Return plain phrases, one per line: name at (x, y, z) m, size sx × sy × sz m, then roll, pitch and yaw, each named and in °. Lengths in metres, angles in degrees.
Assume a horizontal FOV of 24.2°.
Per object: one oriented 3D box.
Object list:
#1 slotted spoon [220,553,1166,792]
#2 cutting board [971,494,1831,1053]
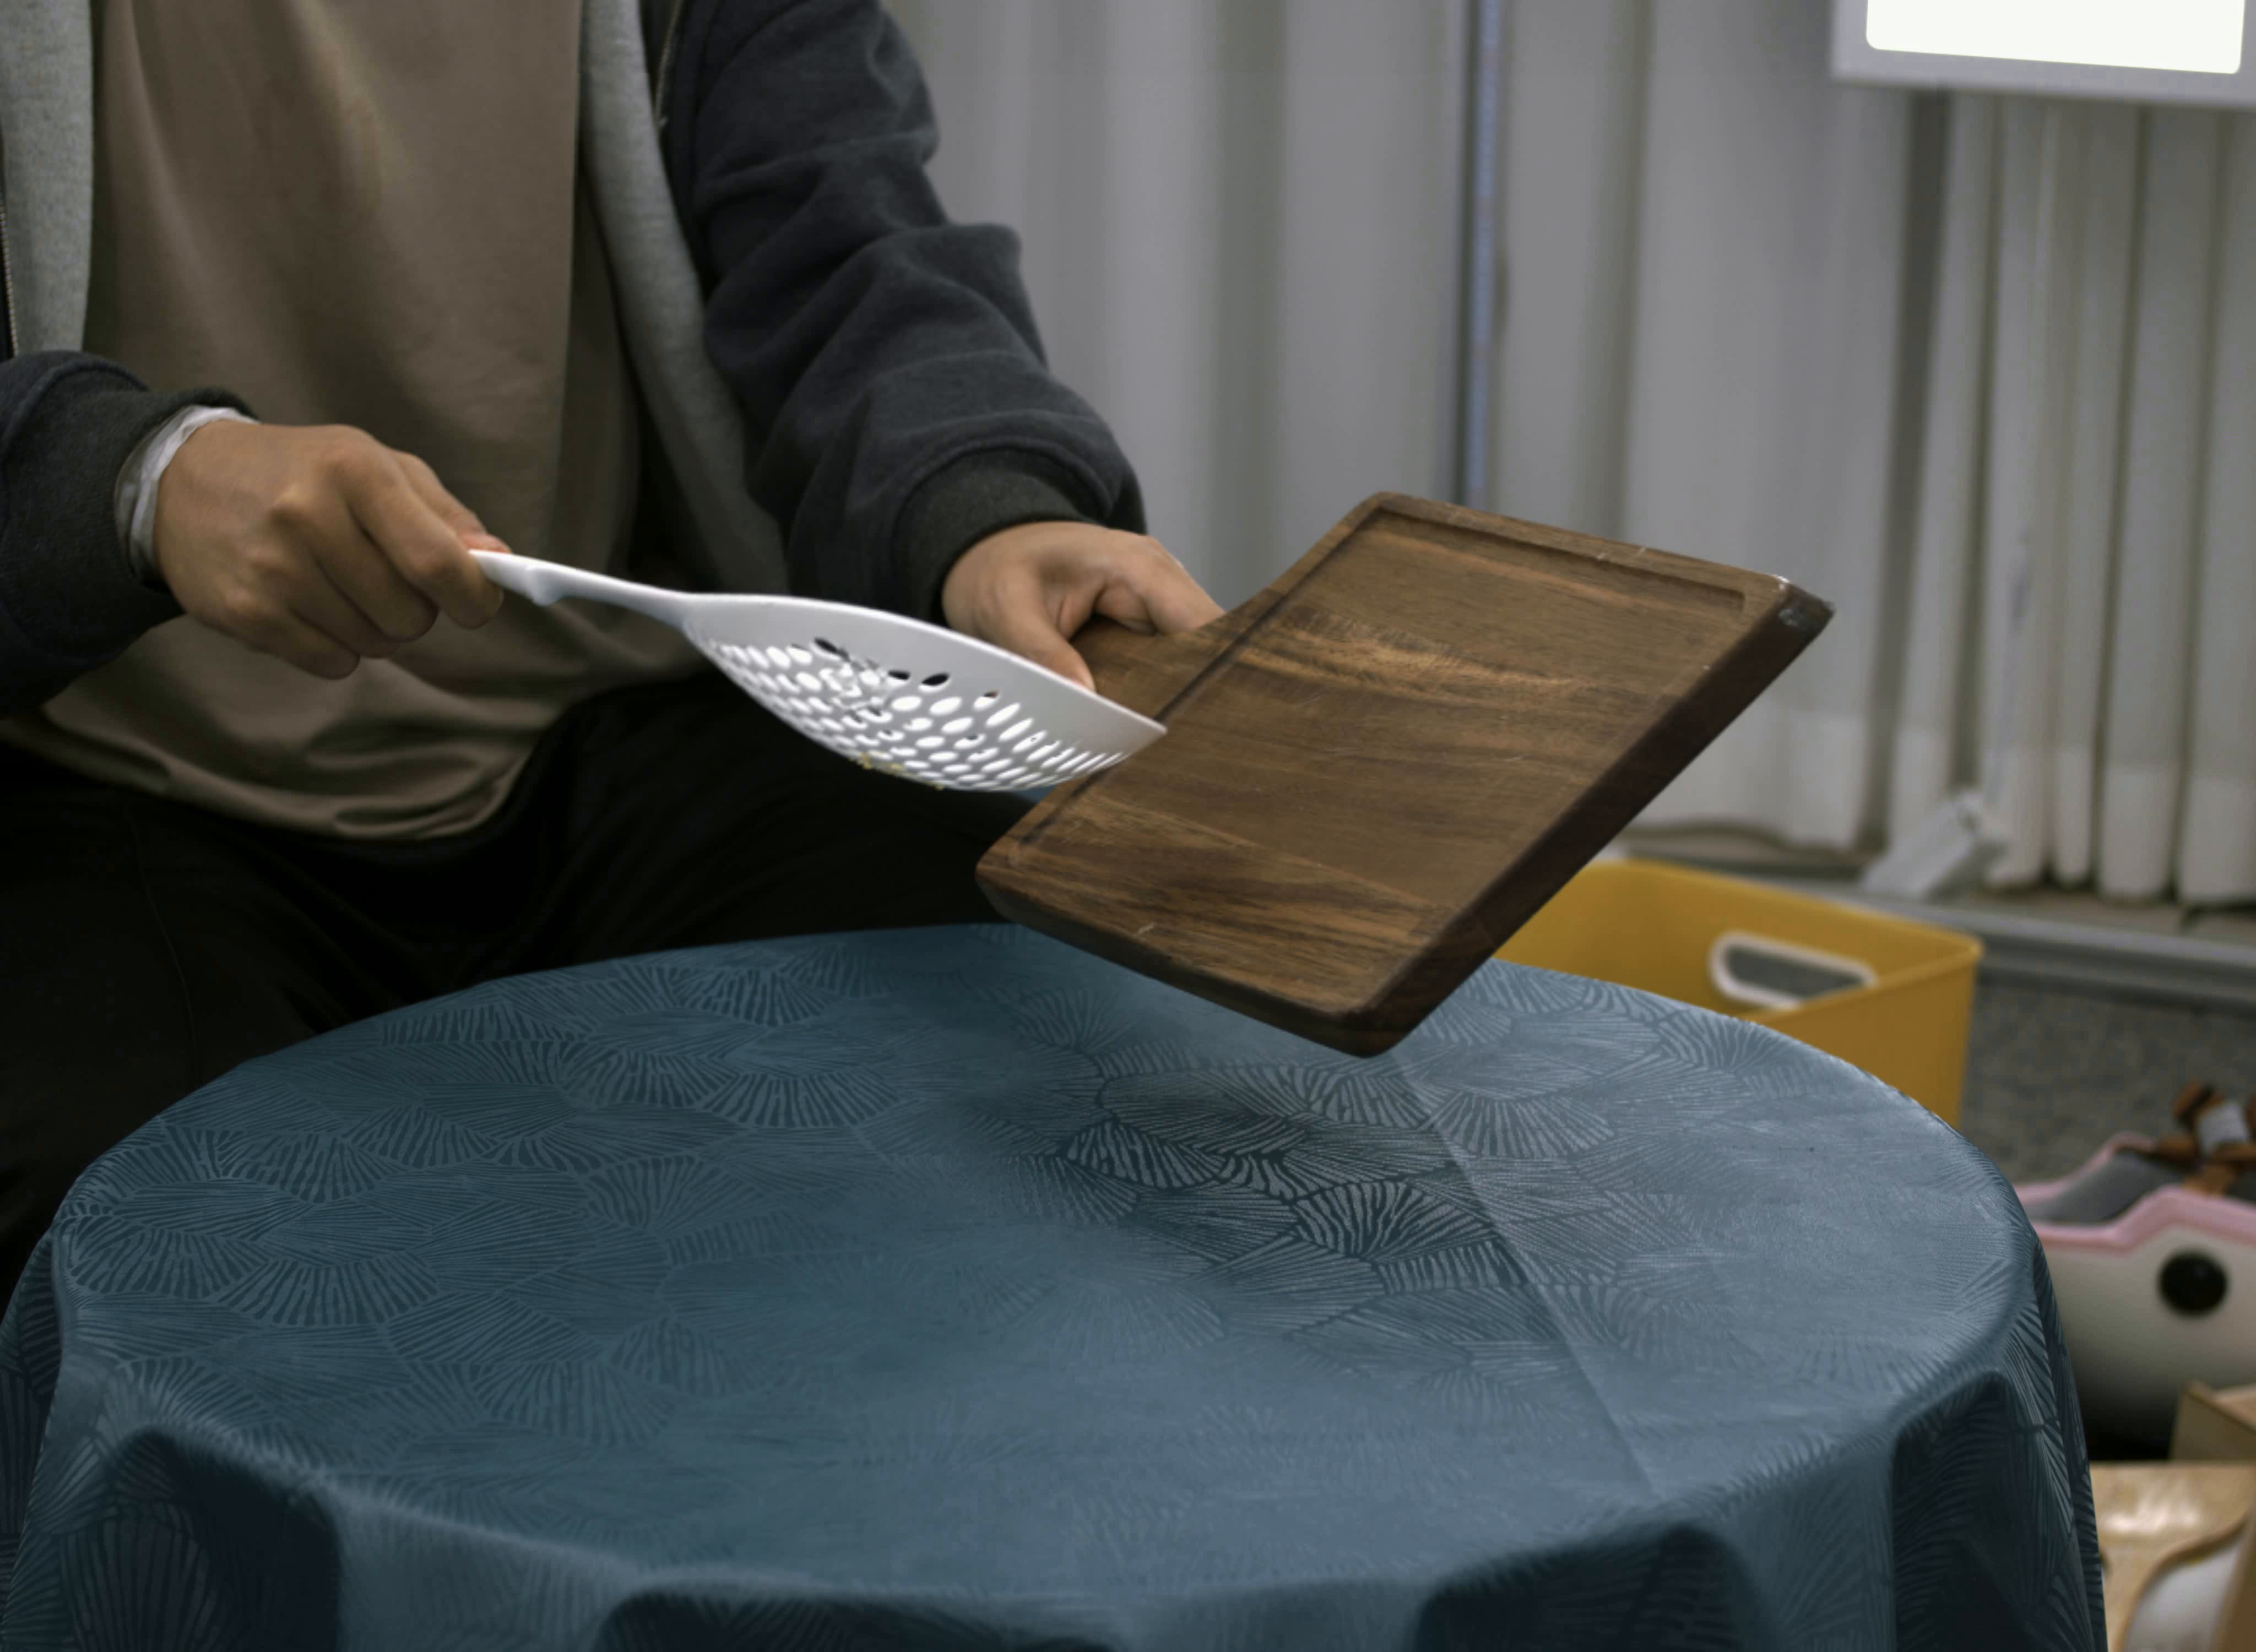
slotted spoon at (-0.147, -0.059, 1.639) m, size 0.343 × 0.050 × 0.138 m, roll 17°, pitch -2°, yaw 34°
cutting board at (0.055, -0.031, 1.675) m, size 0.201 × 0.023 × 0.348 m, roll -43°, pitch 27°, yaw -16°
